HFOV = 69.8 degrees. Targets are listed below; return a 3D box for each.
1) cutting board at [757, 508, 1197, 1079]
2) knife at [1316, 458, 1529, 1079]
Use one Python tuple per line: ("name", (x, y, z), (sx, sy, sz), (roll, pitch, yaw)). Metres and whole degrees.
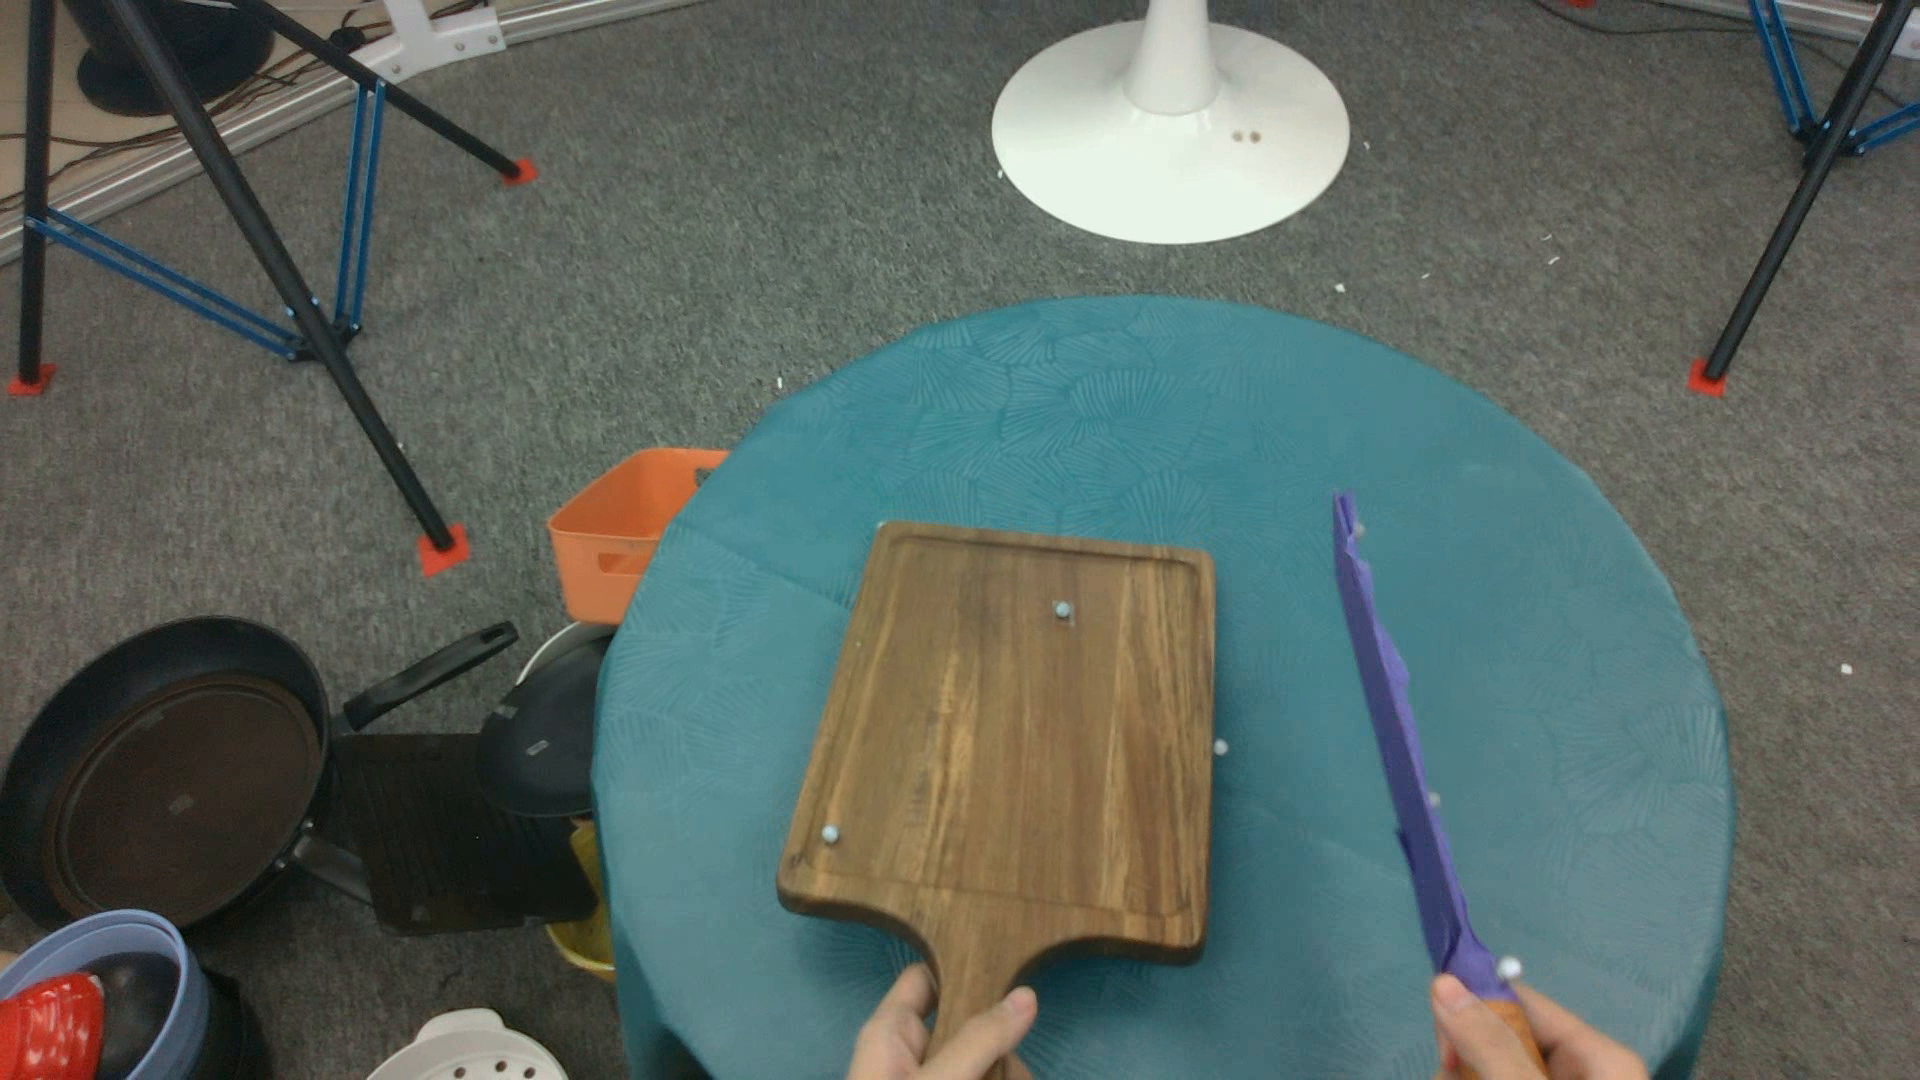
("cutting board", (0.013, 0.114, 0.670), (0.201, 0.023, 0.354), (6, 44, 6))
("knife", (0.190, 0.120, 0.577), (0.032, 0.103, 0.316), (-10, 60, 10))
